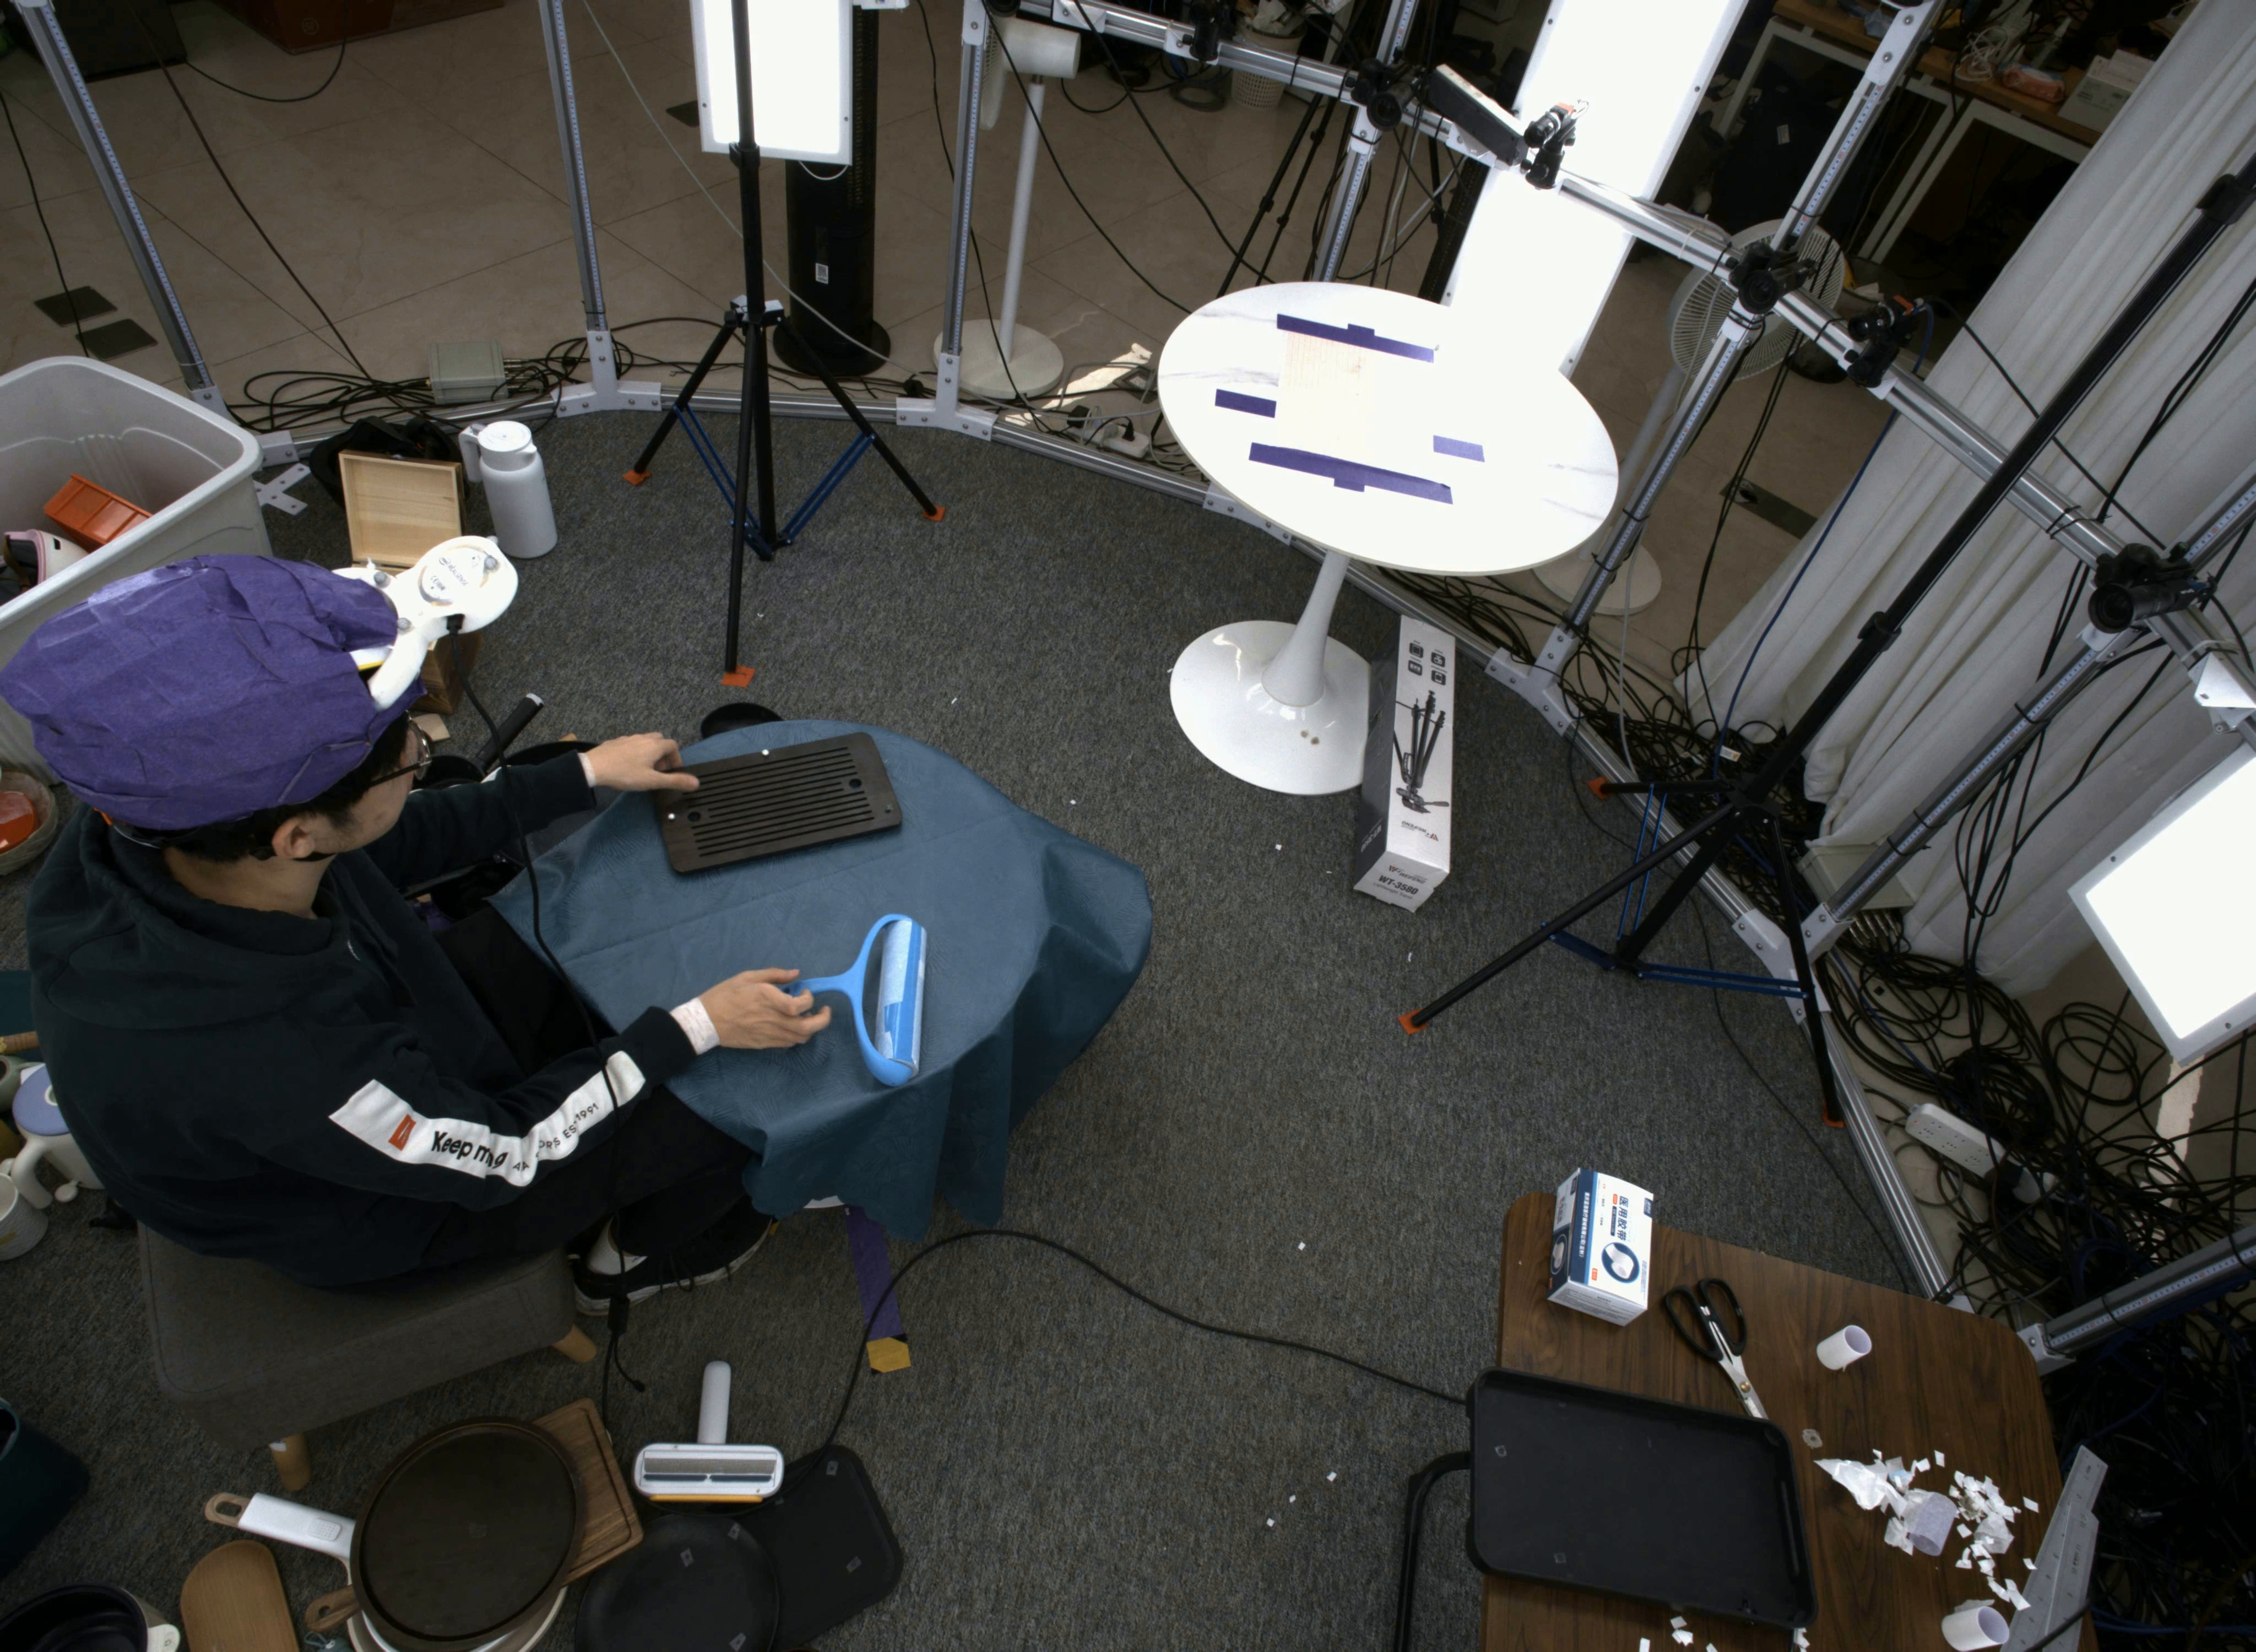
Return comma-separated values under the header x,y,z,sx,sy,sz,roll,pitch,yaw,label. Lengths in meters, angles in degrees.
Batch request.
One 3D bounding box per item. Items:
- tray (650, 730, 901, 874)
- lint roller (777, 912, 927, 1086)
x,y,z,sx,sy,sz,roll,pitch,yaw,label
-0.471,-0.035,1.732,0.307,0.019,0.166,-14,59,-24,tray
-0.333,0.203,1.566,0.181,0.069,0.224,3,55,-14,lint roller
